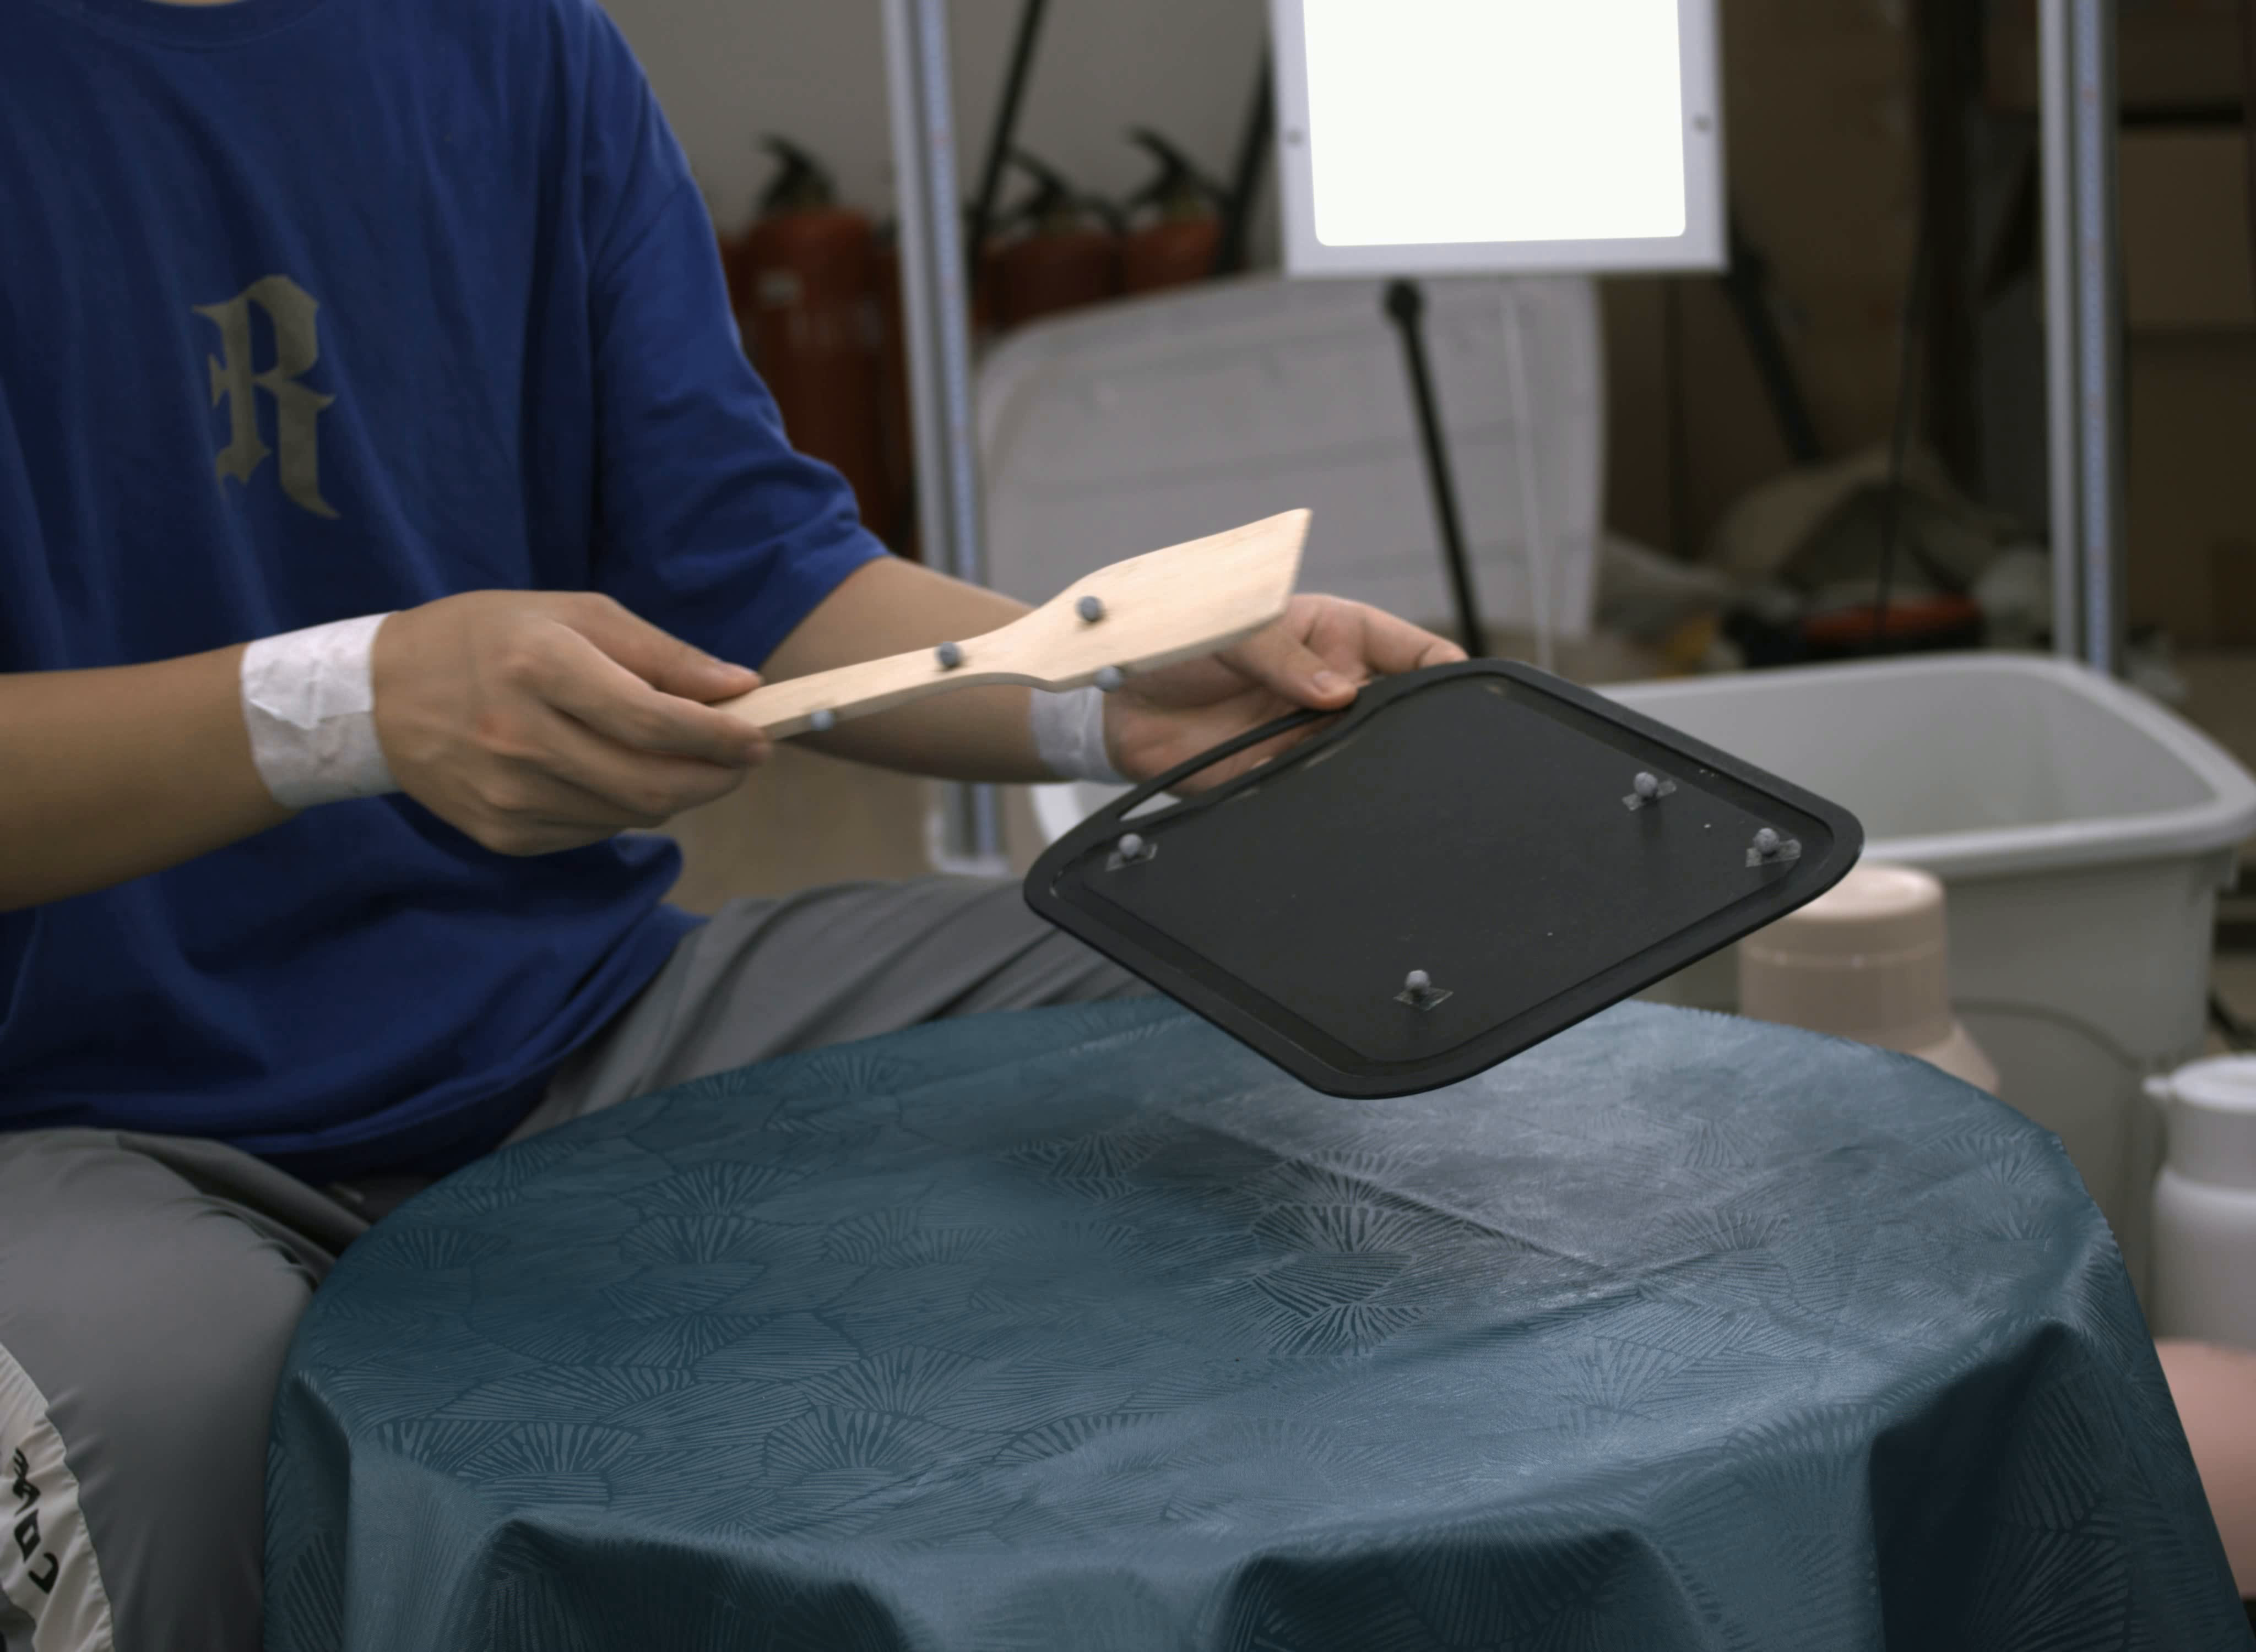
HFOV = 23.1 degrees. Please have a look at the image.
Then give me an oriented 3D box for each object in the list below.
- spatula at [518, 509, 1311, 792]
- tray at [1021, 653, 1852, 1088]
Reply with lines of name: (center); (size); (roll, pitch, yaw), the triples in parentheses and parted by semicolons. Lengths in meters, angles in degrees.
spatula: (-0.076, -0.050, 1.842); (0.297, 0.010, 0.071); (-14, 32, 22)
tray: (0.095, 0.008, 1.884); (0.208, 0.010, 0.330); (-27, 24, -15)
